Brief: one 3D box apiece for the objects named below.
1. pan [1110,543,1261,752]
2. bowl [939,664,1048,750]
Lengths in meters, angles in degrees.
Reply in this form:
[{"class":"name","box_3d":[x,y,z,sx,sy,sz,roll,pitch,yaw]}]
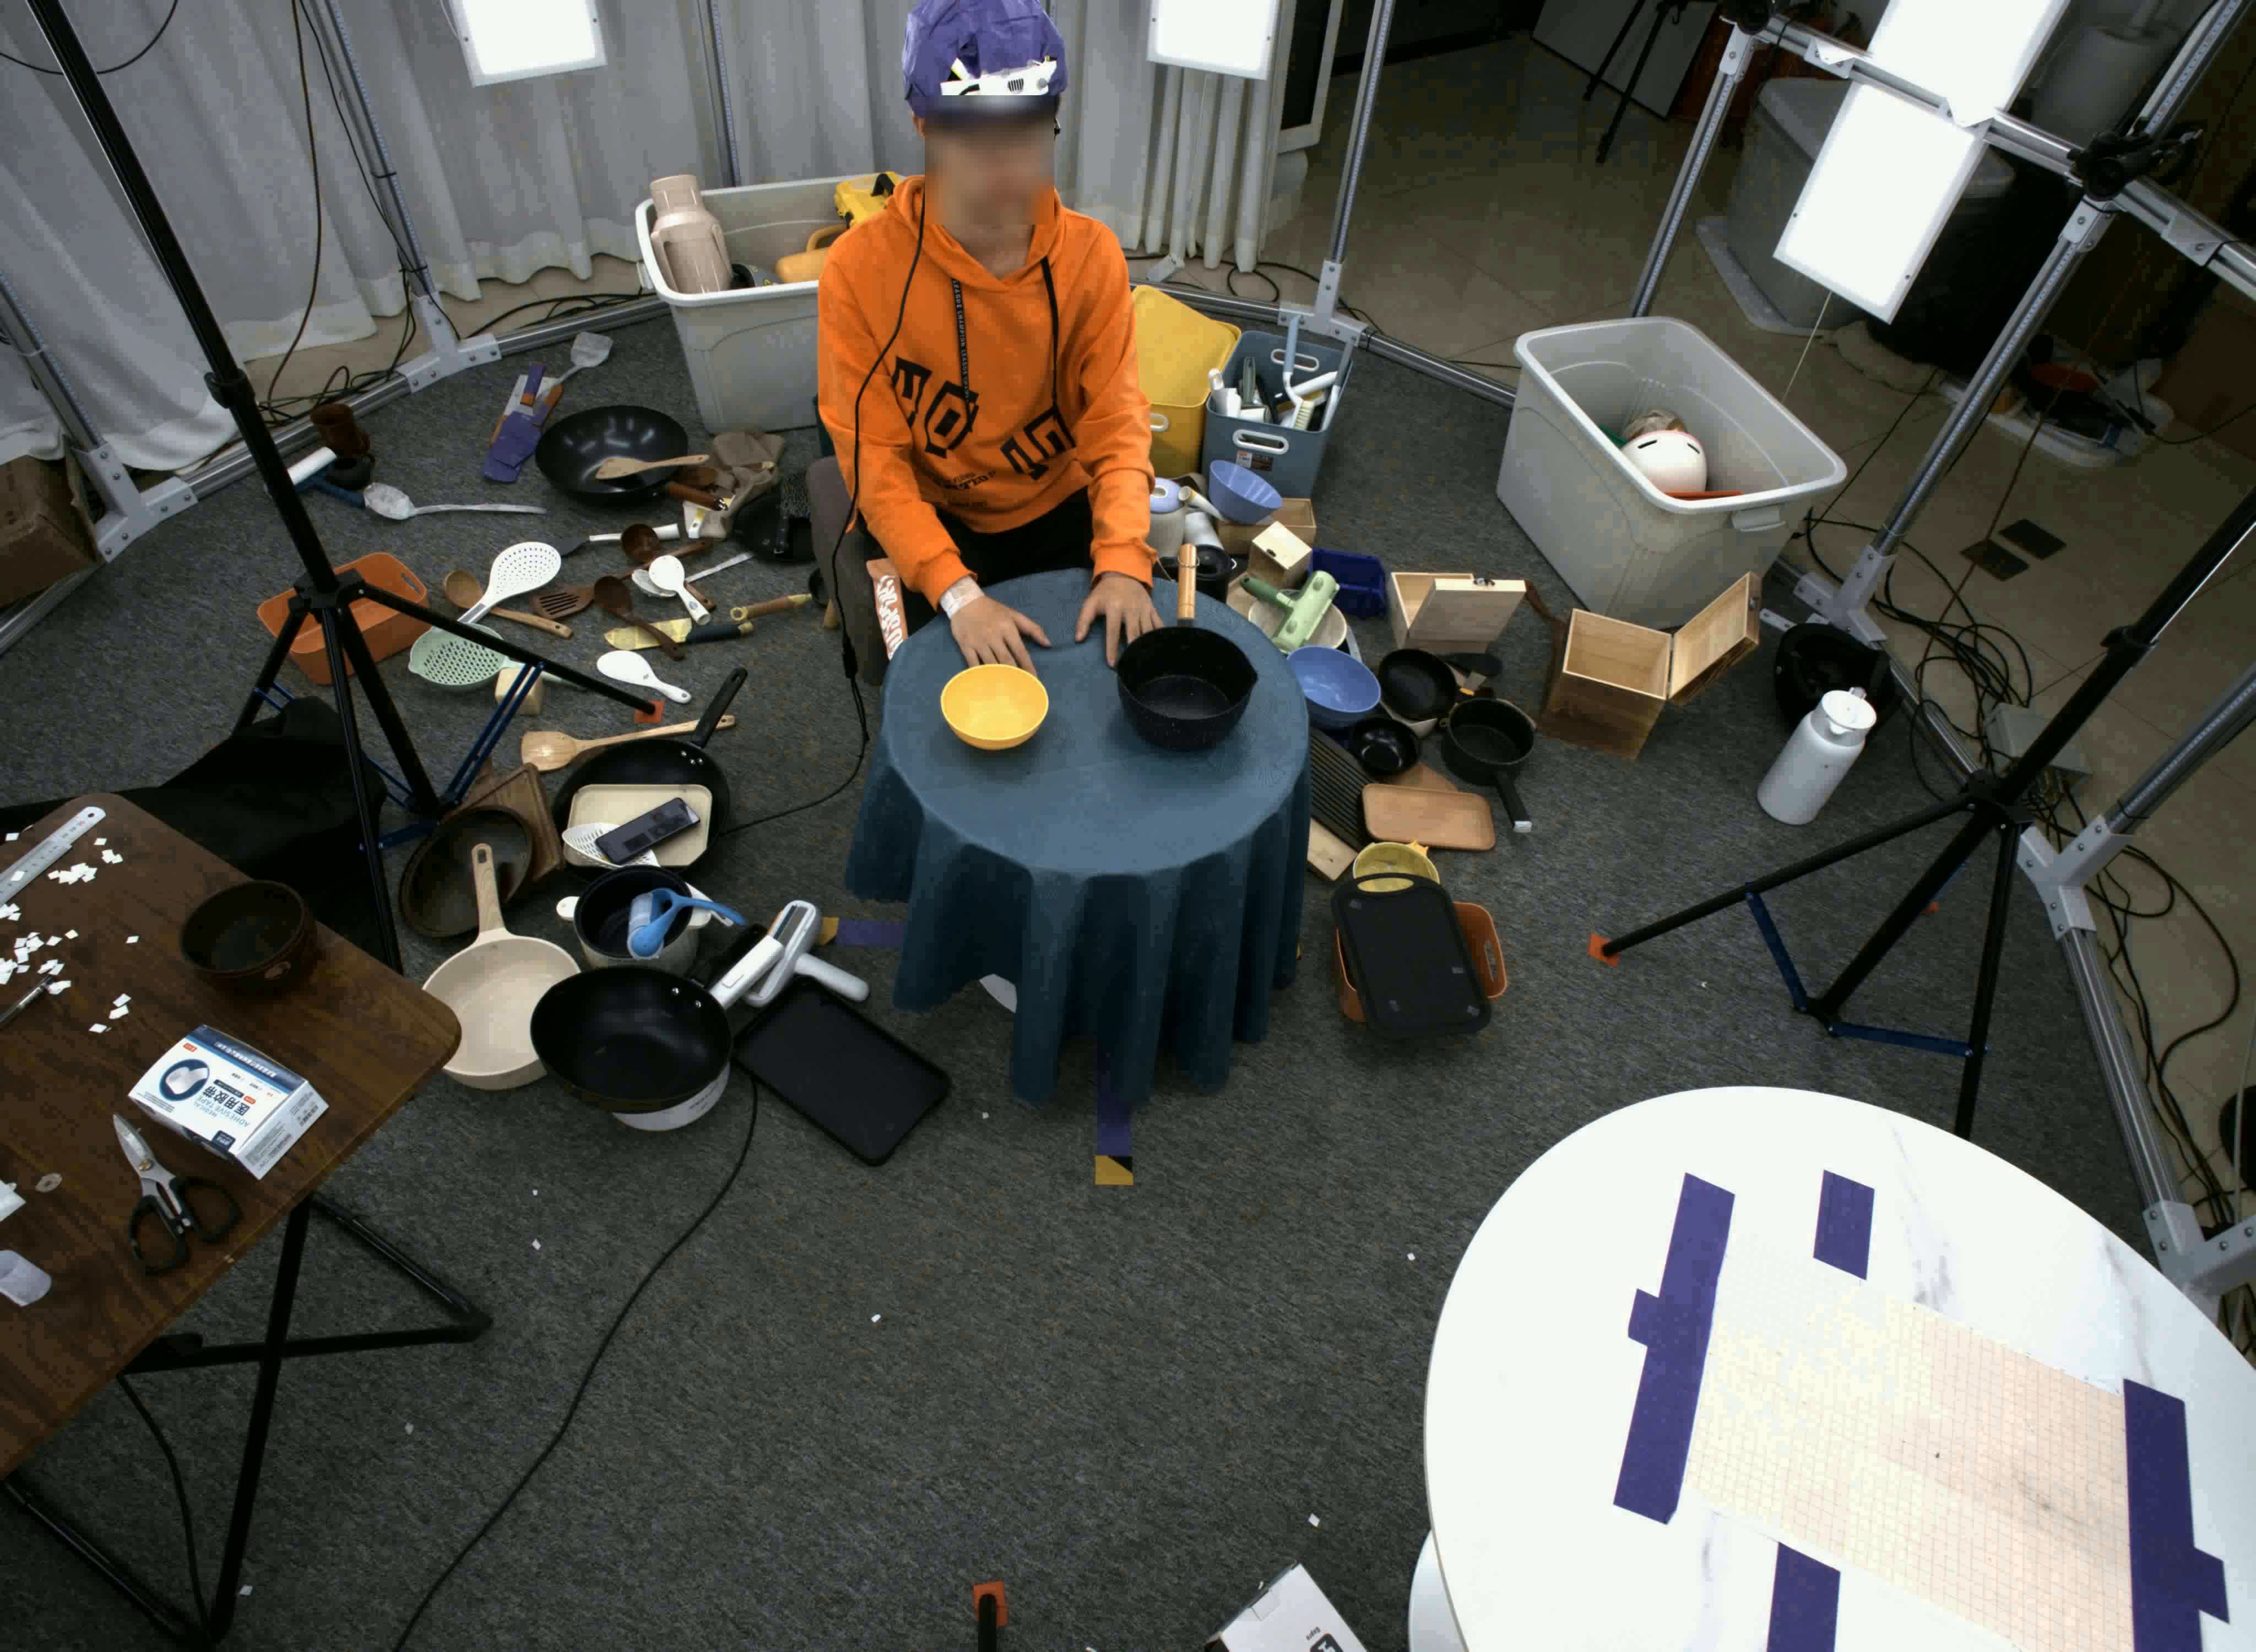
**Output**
[{"class":"pan","box_3d":[0.079,-0.254,1.825,0.207,0.105,0.351,2,50,0]},{"class":"bowl","box_3d":[-0.182,-0.151,1.750,0.145,0.058,0.149,3,48,-3]}]
